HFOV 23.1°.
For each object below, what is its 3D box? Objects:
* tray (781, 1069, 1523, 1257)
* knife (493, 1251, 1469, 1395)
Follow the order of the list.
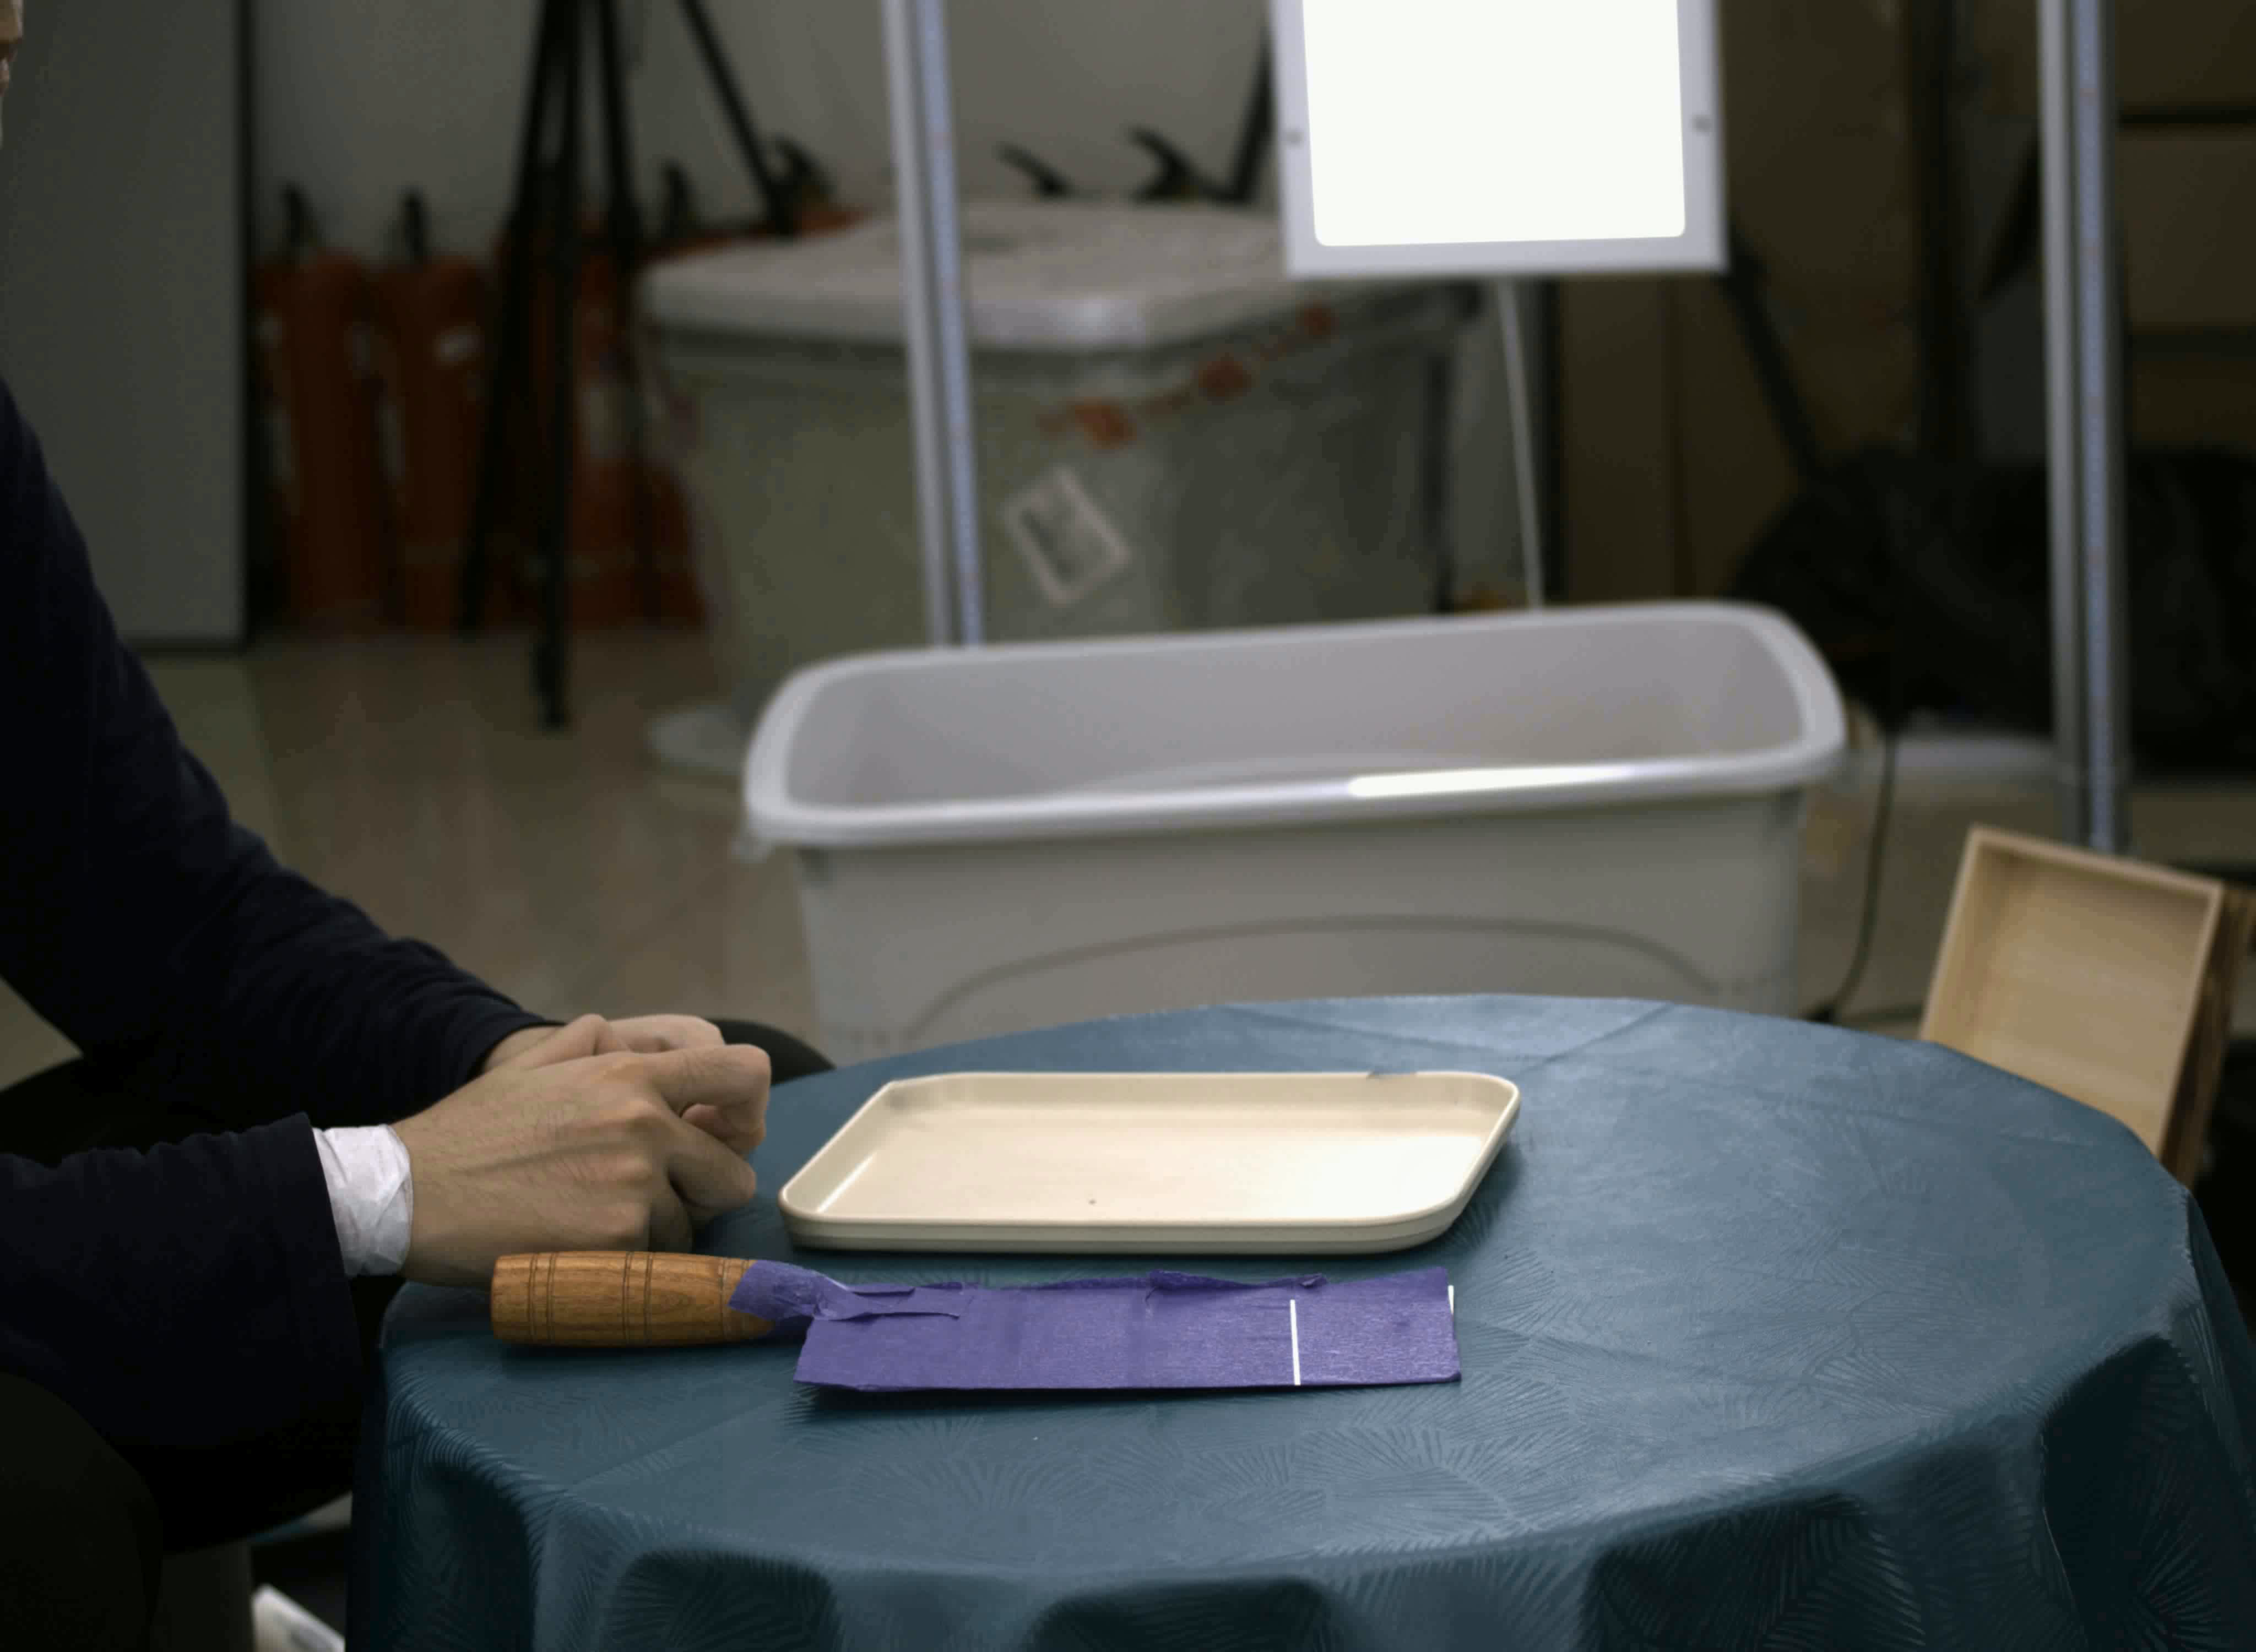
[{"bbox_3d":[0.010,0.117,1.902,0.242,0.017,0.169,-1,15,17],"label":"tray"},{"bbox_3d":[-0.050,0.157,1.743,0.316,0.032,0.103,-3,13,6],"label":"knife"}]
